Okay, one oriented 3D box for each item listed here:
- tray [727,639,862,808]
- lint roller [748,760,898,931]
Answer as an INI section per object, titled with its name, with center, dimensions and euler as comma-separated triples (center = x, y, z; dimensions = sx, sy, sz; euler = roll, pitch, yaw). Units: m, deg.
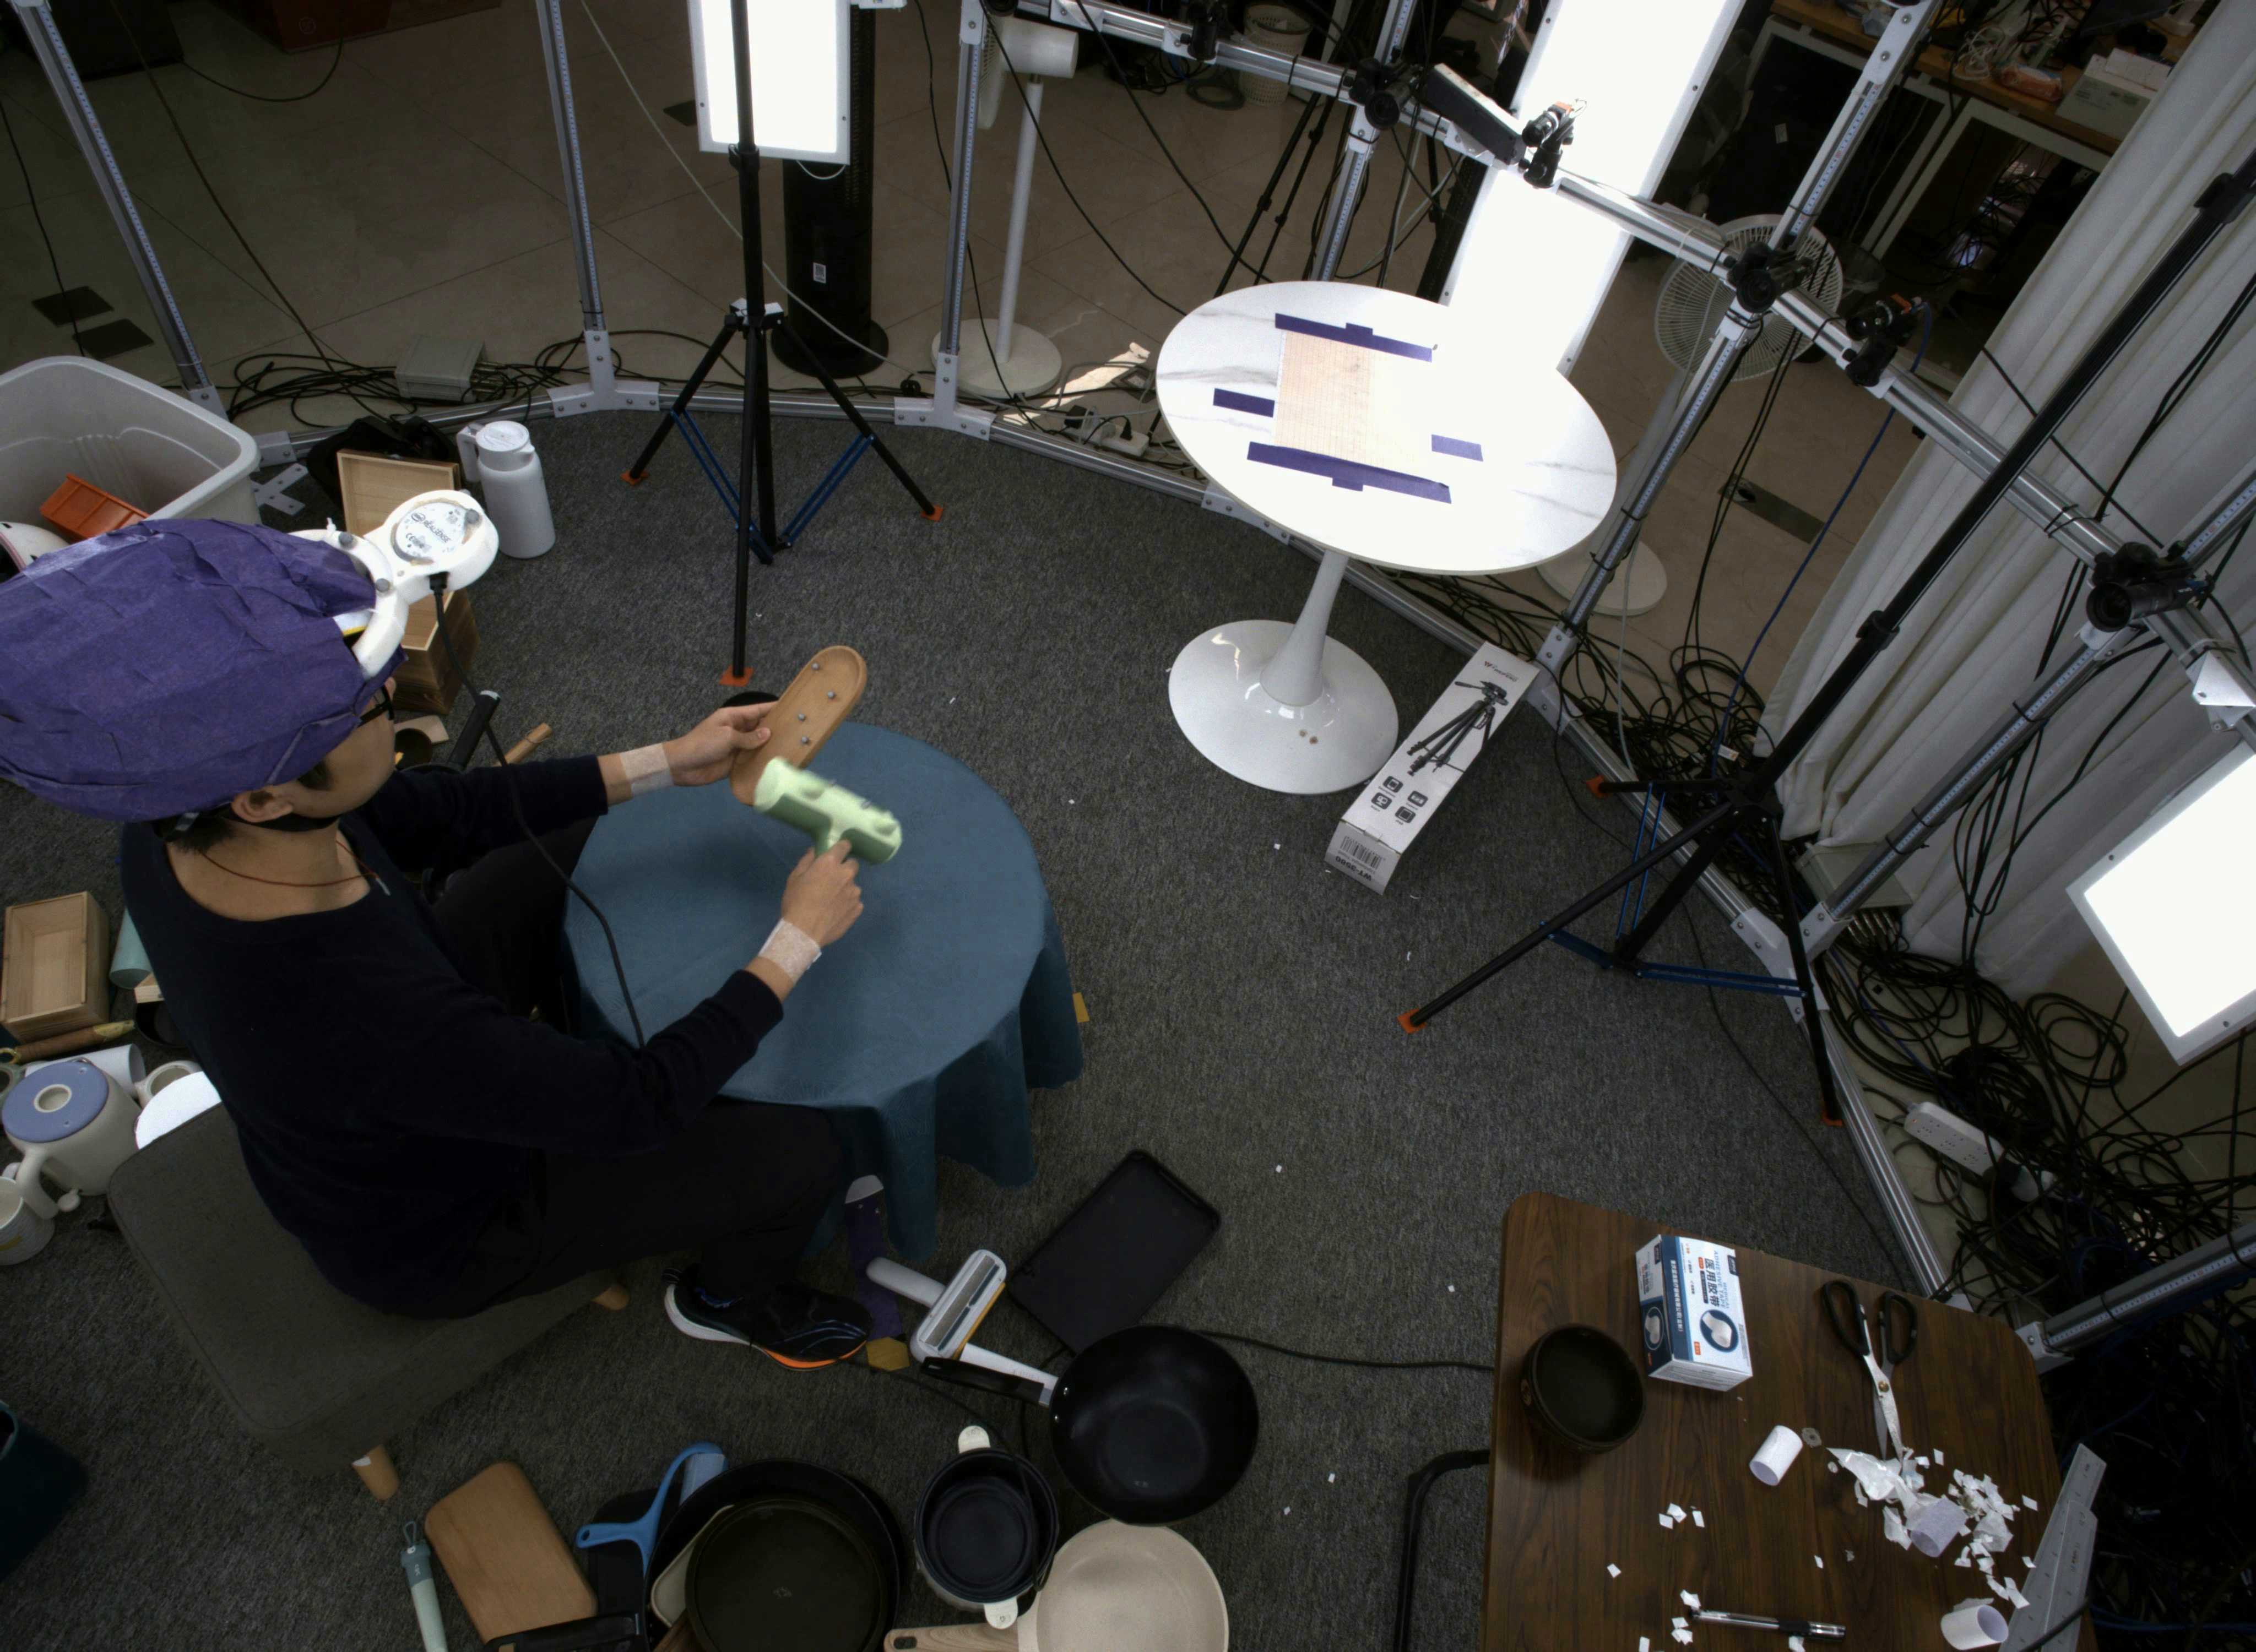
[tray]
center = -0.402, -0.123, 1.561
dimensions = 0.098, 0.021, 0.232
euler = 36, 91, 33
[lint roller]
center = -0.337, 0.027, 1.495
dimensions = 0.205, 0.081, 0.179
euler = 29, 33, -47
